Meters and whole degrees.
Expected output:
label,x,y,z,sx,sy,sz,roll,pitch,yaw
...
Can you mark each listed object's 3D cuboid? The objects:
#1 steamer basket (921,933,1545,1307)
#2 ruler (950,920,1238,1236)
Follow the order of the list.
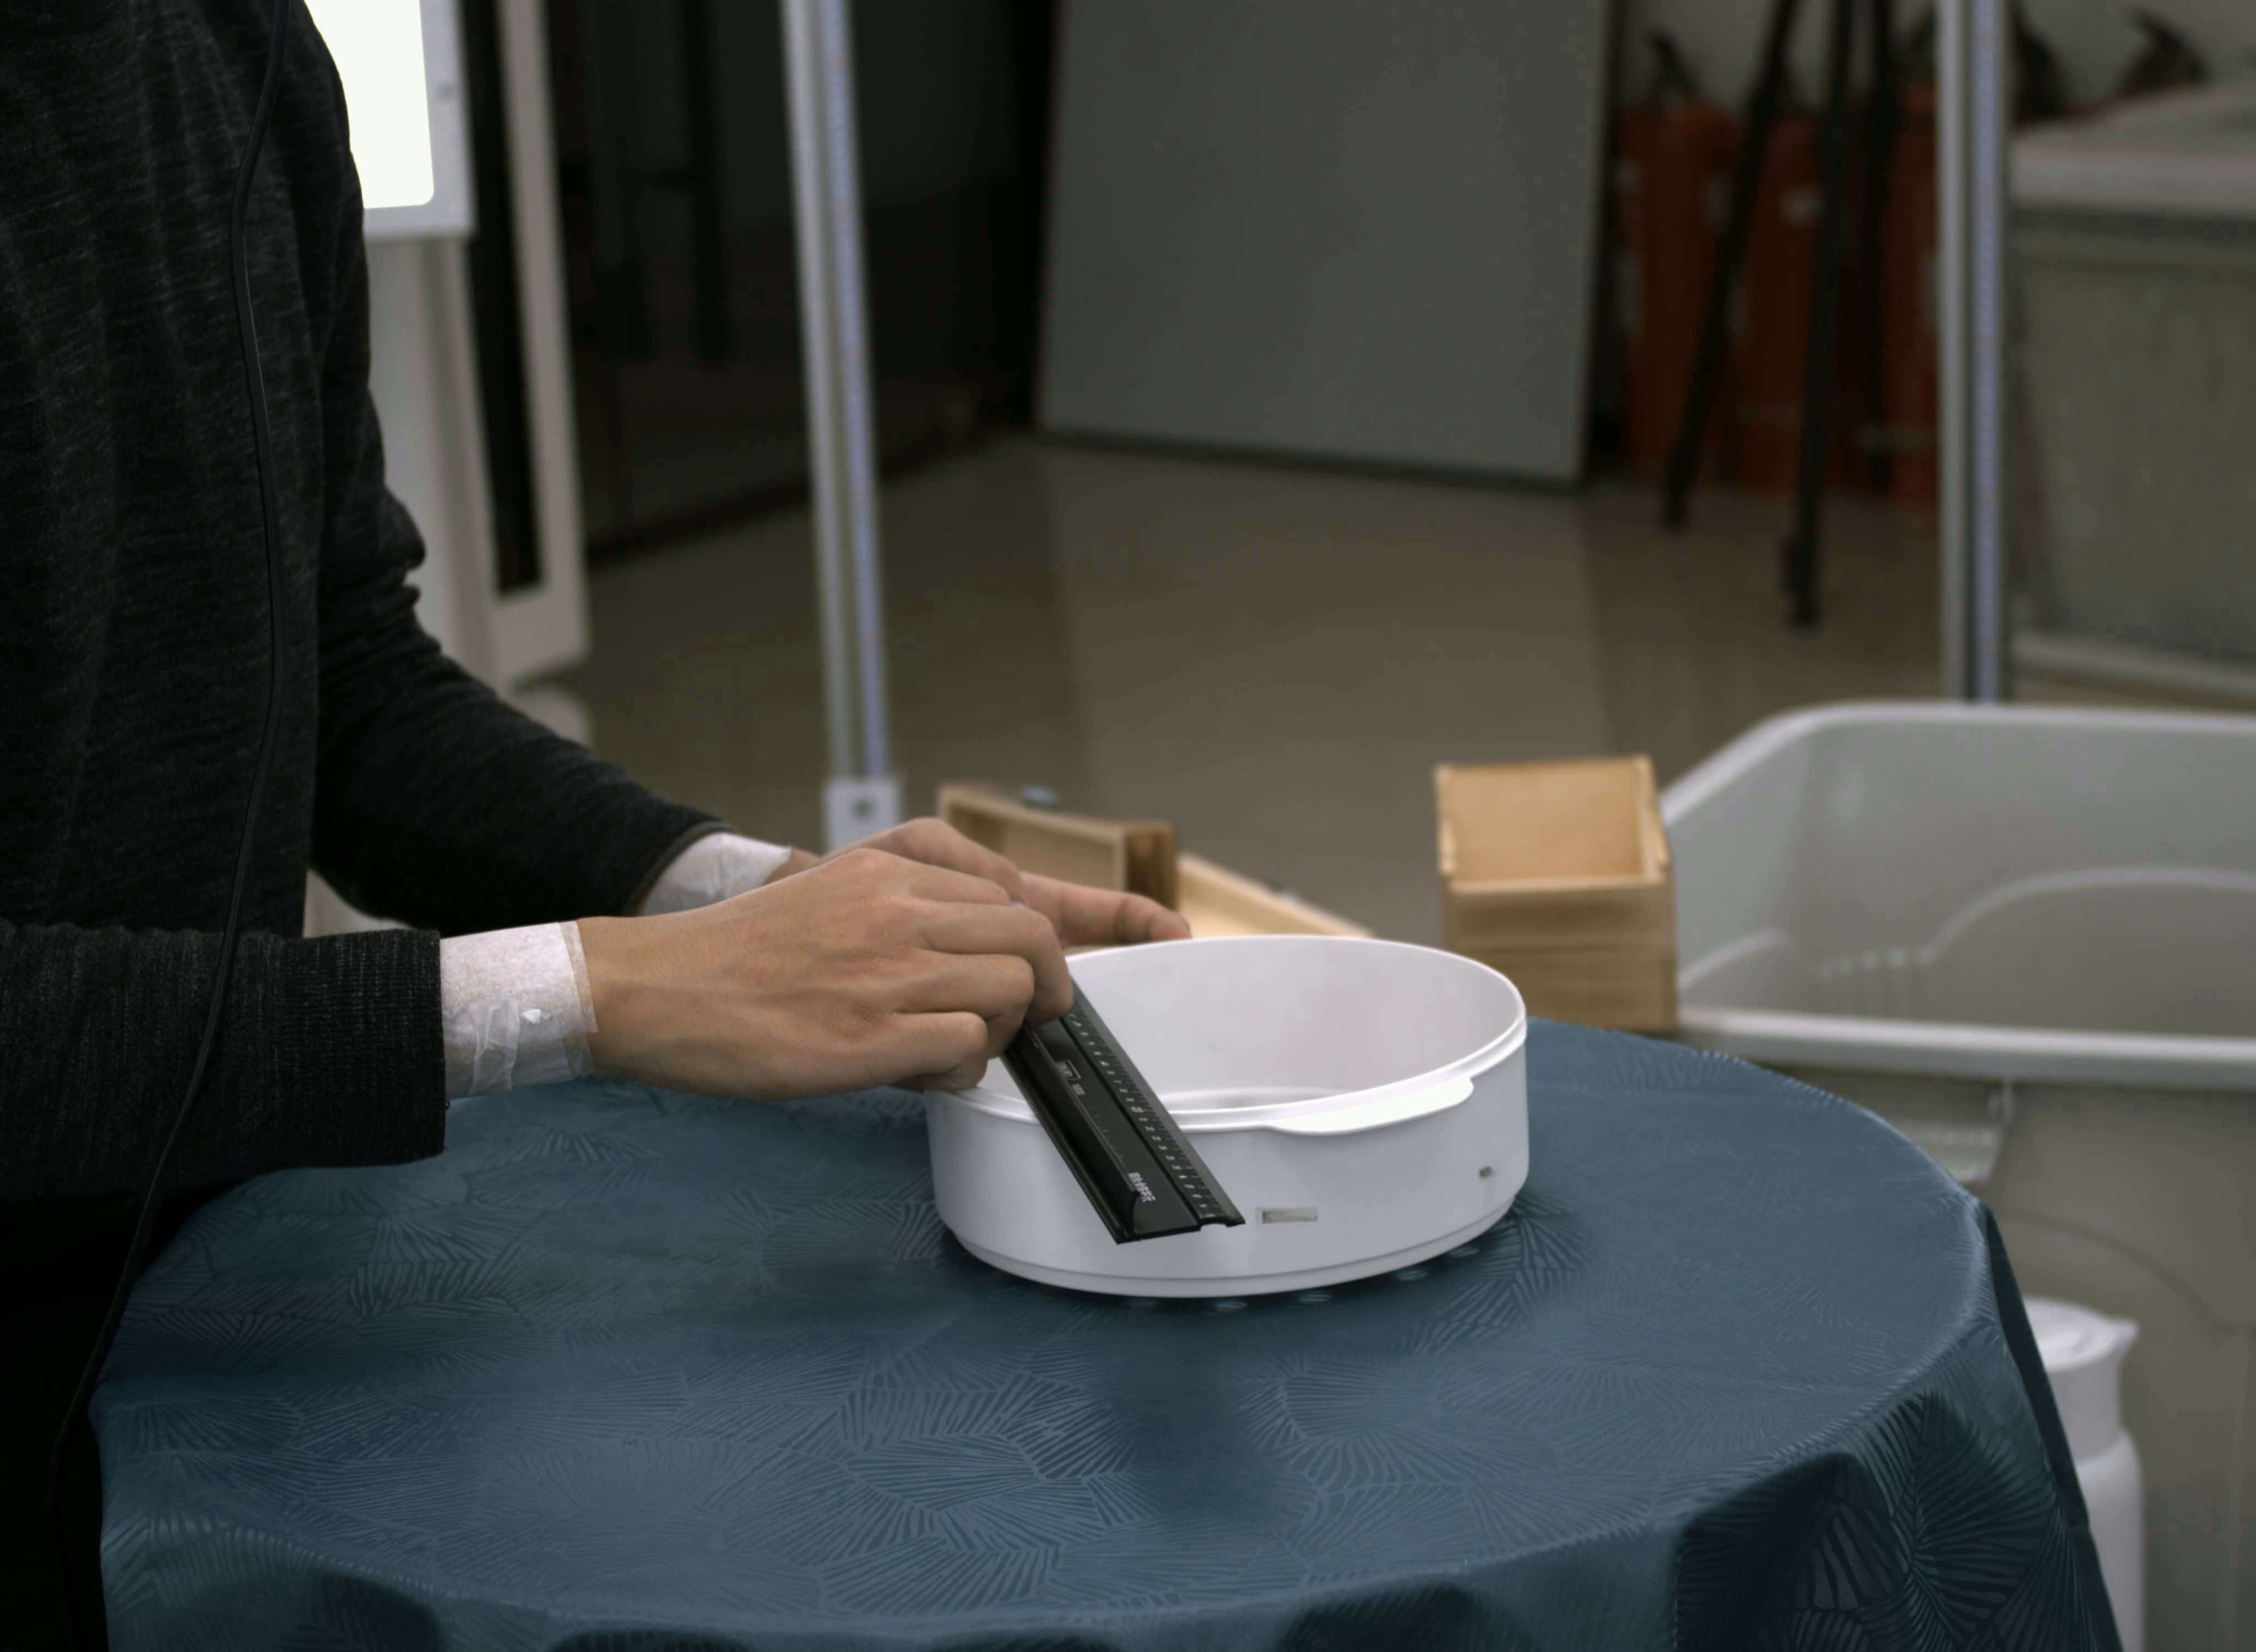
label,x,y,z,sx,sy,sz,roll,pitch,yaw
steamer basket,0.035,0.094,1.725,0.197,0.070,0.233,-11,17,-25
ruler,-0.014,0.071,1.662,0.038,0.017,0.314,-7,14,-9
